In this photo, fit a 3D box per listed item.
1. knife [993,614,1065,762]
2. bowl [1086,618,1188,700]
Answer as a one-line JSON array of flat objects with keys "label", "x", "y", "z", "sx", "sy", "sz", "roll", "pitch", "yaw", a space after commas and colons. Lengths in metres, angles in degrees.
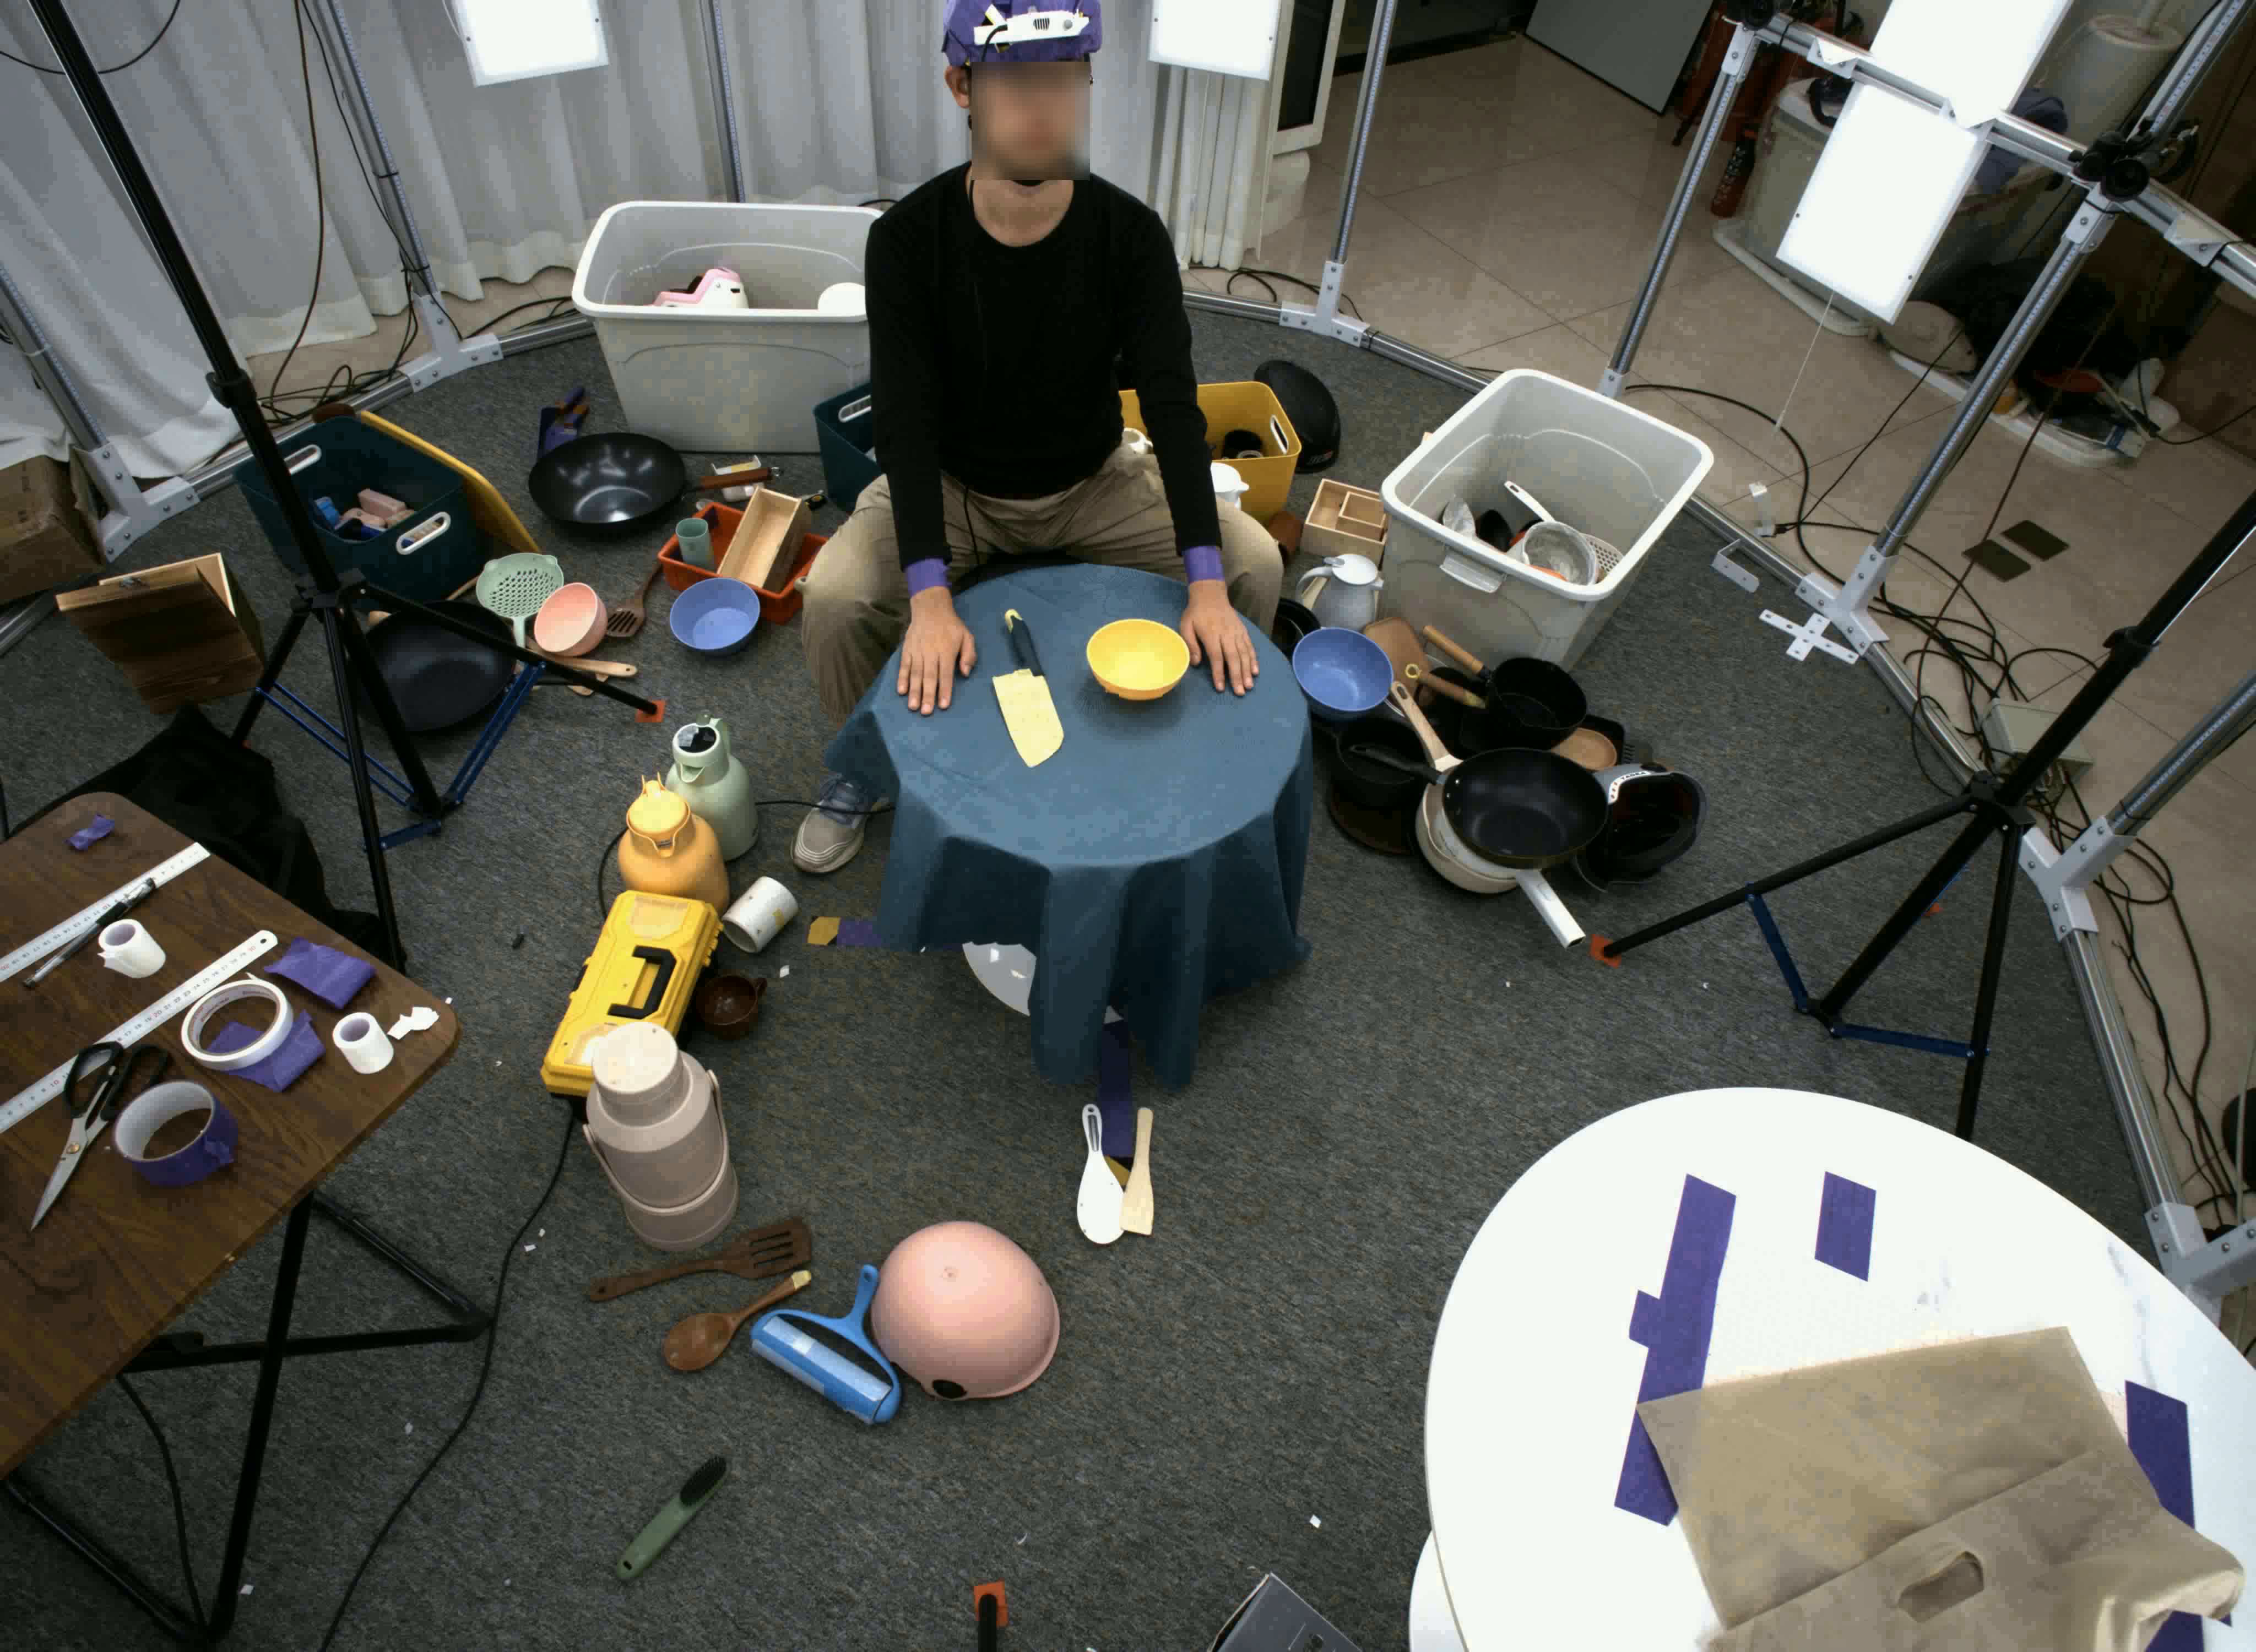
[{"label": "knife", "x": -0.149, "y": -0.199, "z": 1.823, "sx": 0.081, "sy": 0.026, "sz": 0.297, "roll": -8, "pitch": 51, "yaw": -12}, {"label": "bowl", "x": 0.010, "y": -0.226, "z": 1.828, "sx": 0.145, "sy": 0.059, "sz": 0.149, "roll": 3, "pitch": 49, "yaw": -4}]
